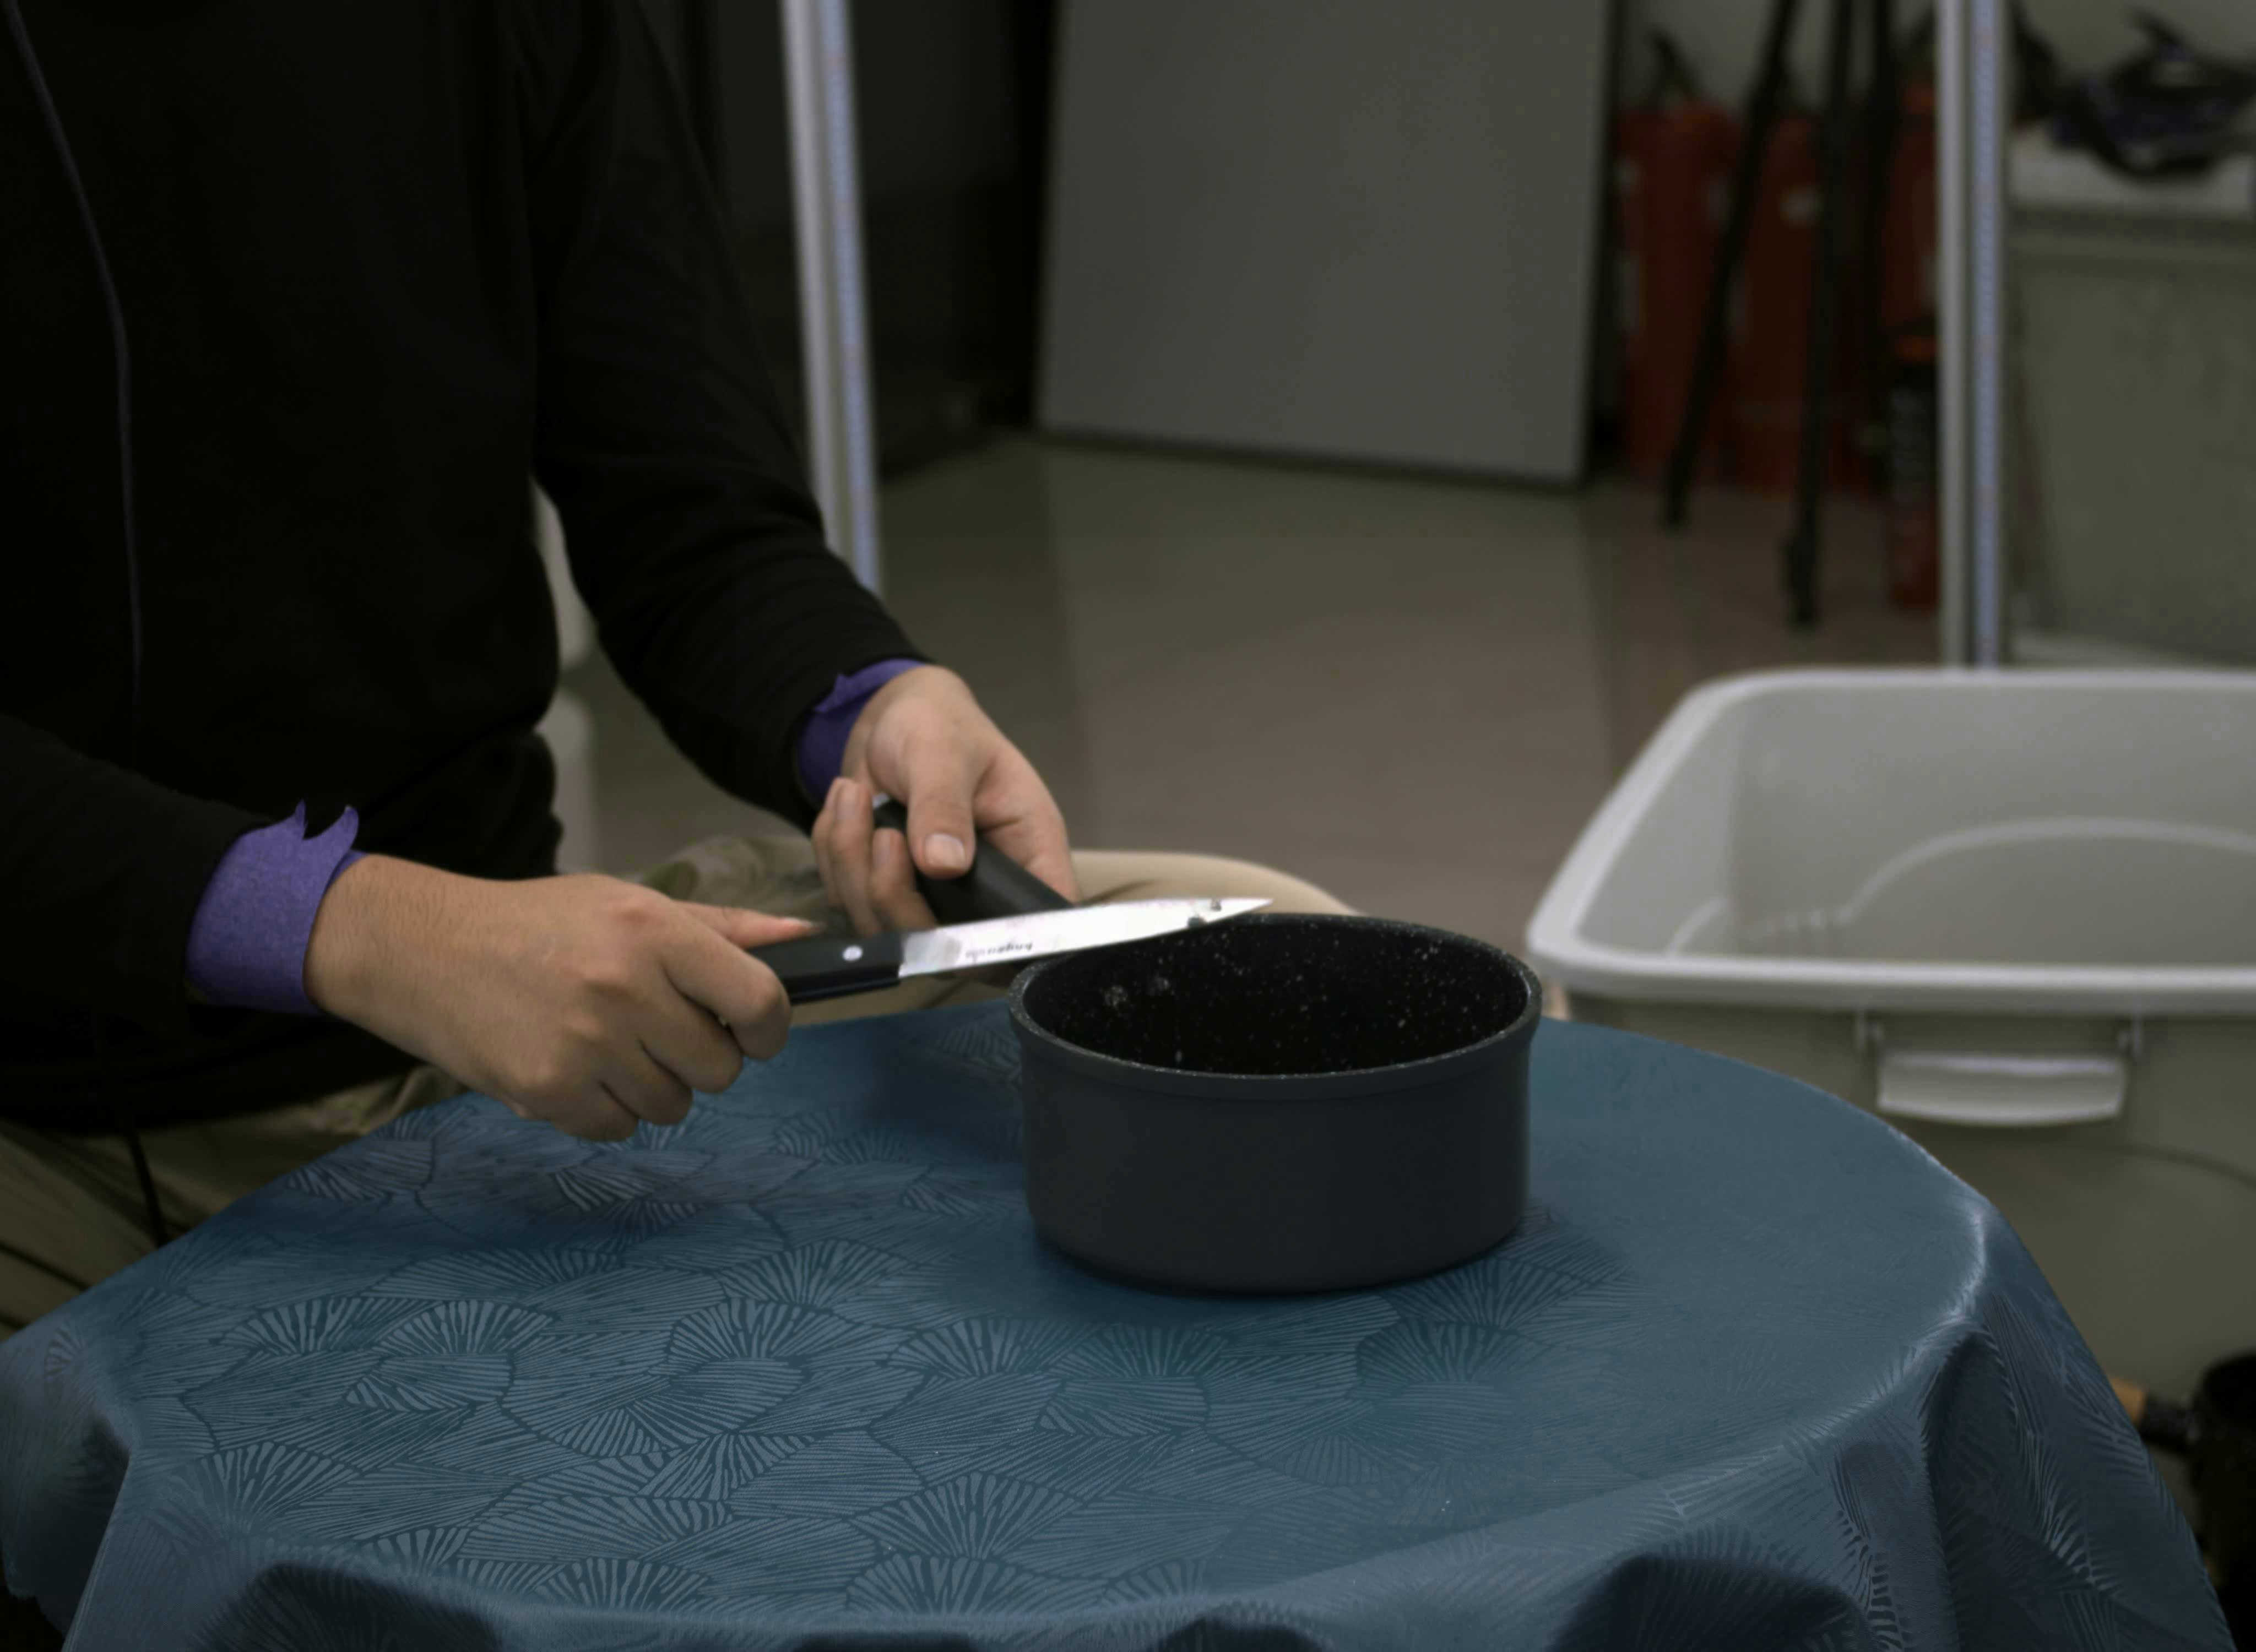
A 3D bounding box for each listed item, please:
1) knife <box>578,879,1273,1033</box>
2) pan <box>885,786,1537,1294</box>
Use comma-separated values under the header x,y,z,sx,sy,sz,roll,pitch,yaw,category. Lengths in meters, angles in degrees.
x,y,z,sx,sy,sz,roll,pitch,yaw,category
-0.067,0.041,1.767,0.236,0.016,0.024,-10,39,10,knife
0.007,0.067,1.788,0.168,0.087,0.332,-10,18,-28,pan
